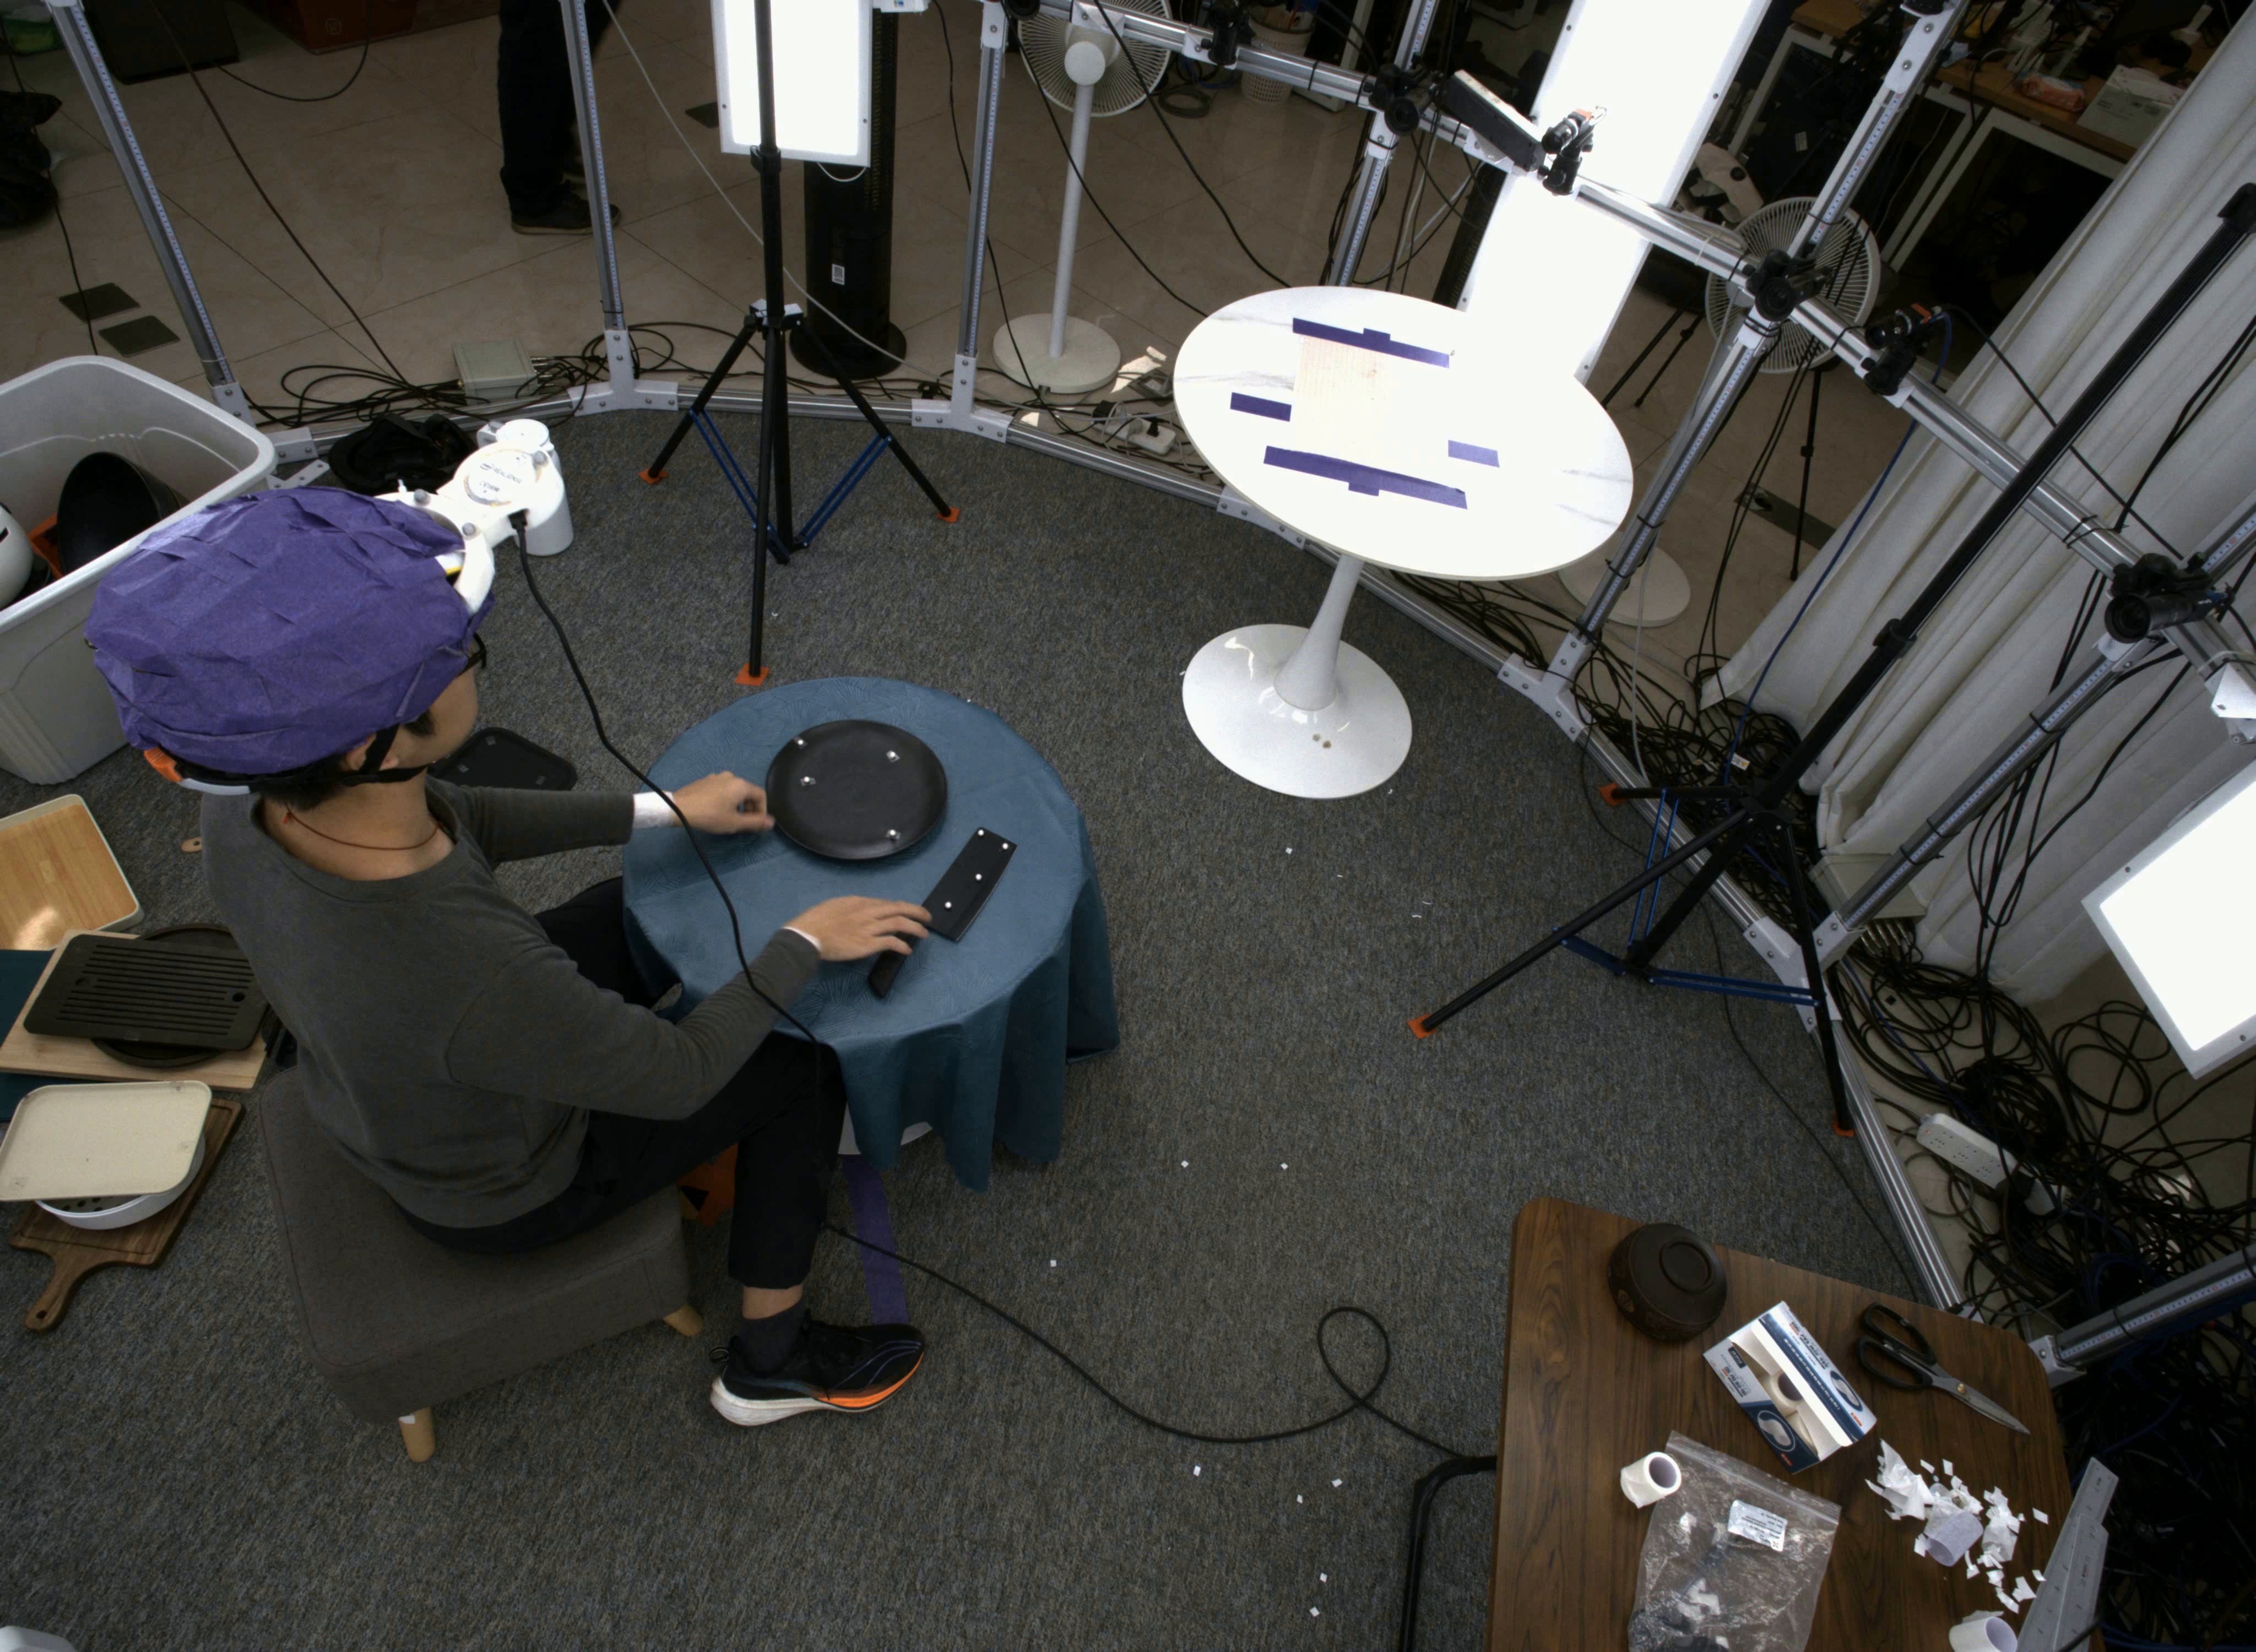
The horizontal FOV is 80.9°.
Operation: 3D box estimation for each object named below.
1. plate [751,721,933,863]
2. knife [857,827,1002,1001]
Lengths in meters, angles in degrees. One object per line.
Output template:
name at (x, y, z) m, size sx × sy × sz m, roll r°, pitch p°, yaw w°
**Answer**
plate at (-0.388, -0.046, 1.764) m, size 0.244 × 0.024 × 0.240 m, roll 8°, pitch 53°, yaw -9°
knife at (-0.256, 0.109, 1.689) m, size 0.080 × 0.021 × 0.301 m, roll 29°, pitch 51°, yaw 8°
